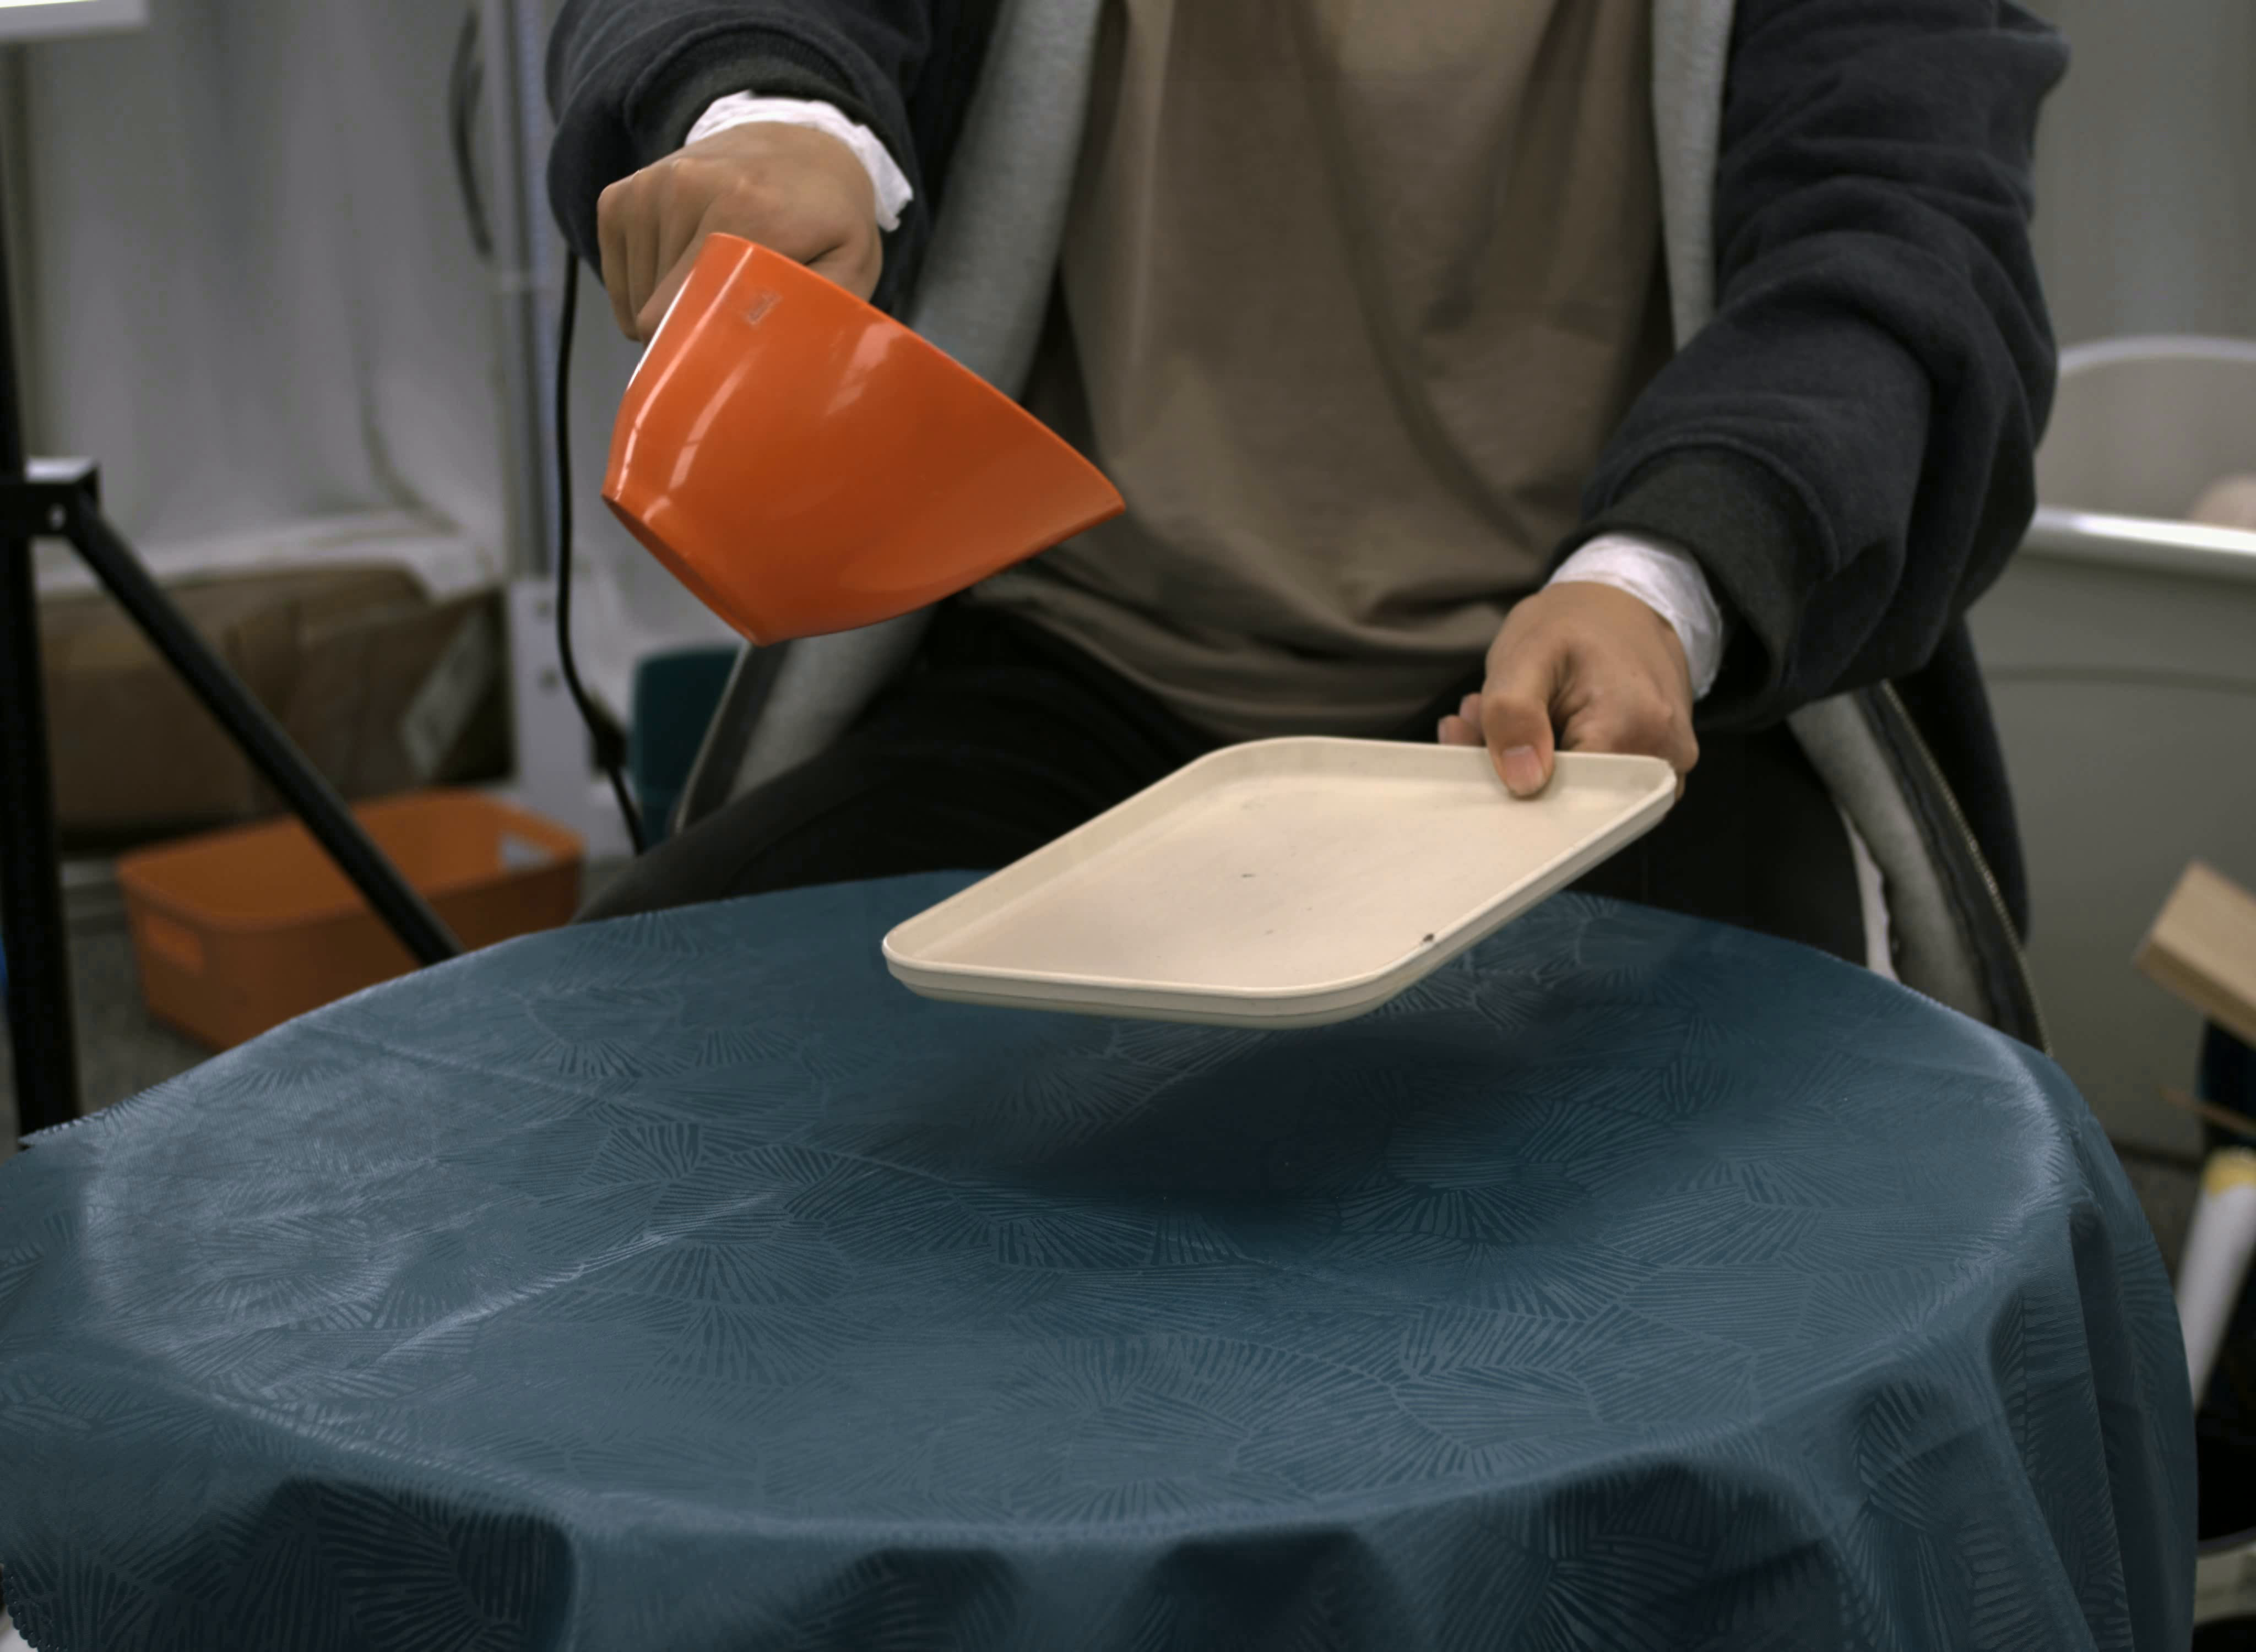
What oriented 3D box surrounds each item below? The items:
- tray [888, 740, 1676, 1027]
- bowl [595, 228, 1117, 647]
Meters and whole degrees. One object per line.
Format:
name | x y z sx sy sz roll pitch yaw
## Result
tray | 0.050 0.016 1.610 0.174 0.017 0.235 3 18 33
bowl | -0.092 -0.105 1.594 0.104 0.145 0.150 -46 25 -4
